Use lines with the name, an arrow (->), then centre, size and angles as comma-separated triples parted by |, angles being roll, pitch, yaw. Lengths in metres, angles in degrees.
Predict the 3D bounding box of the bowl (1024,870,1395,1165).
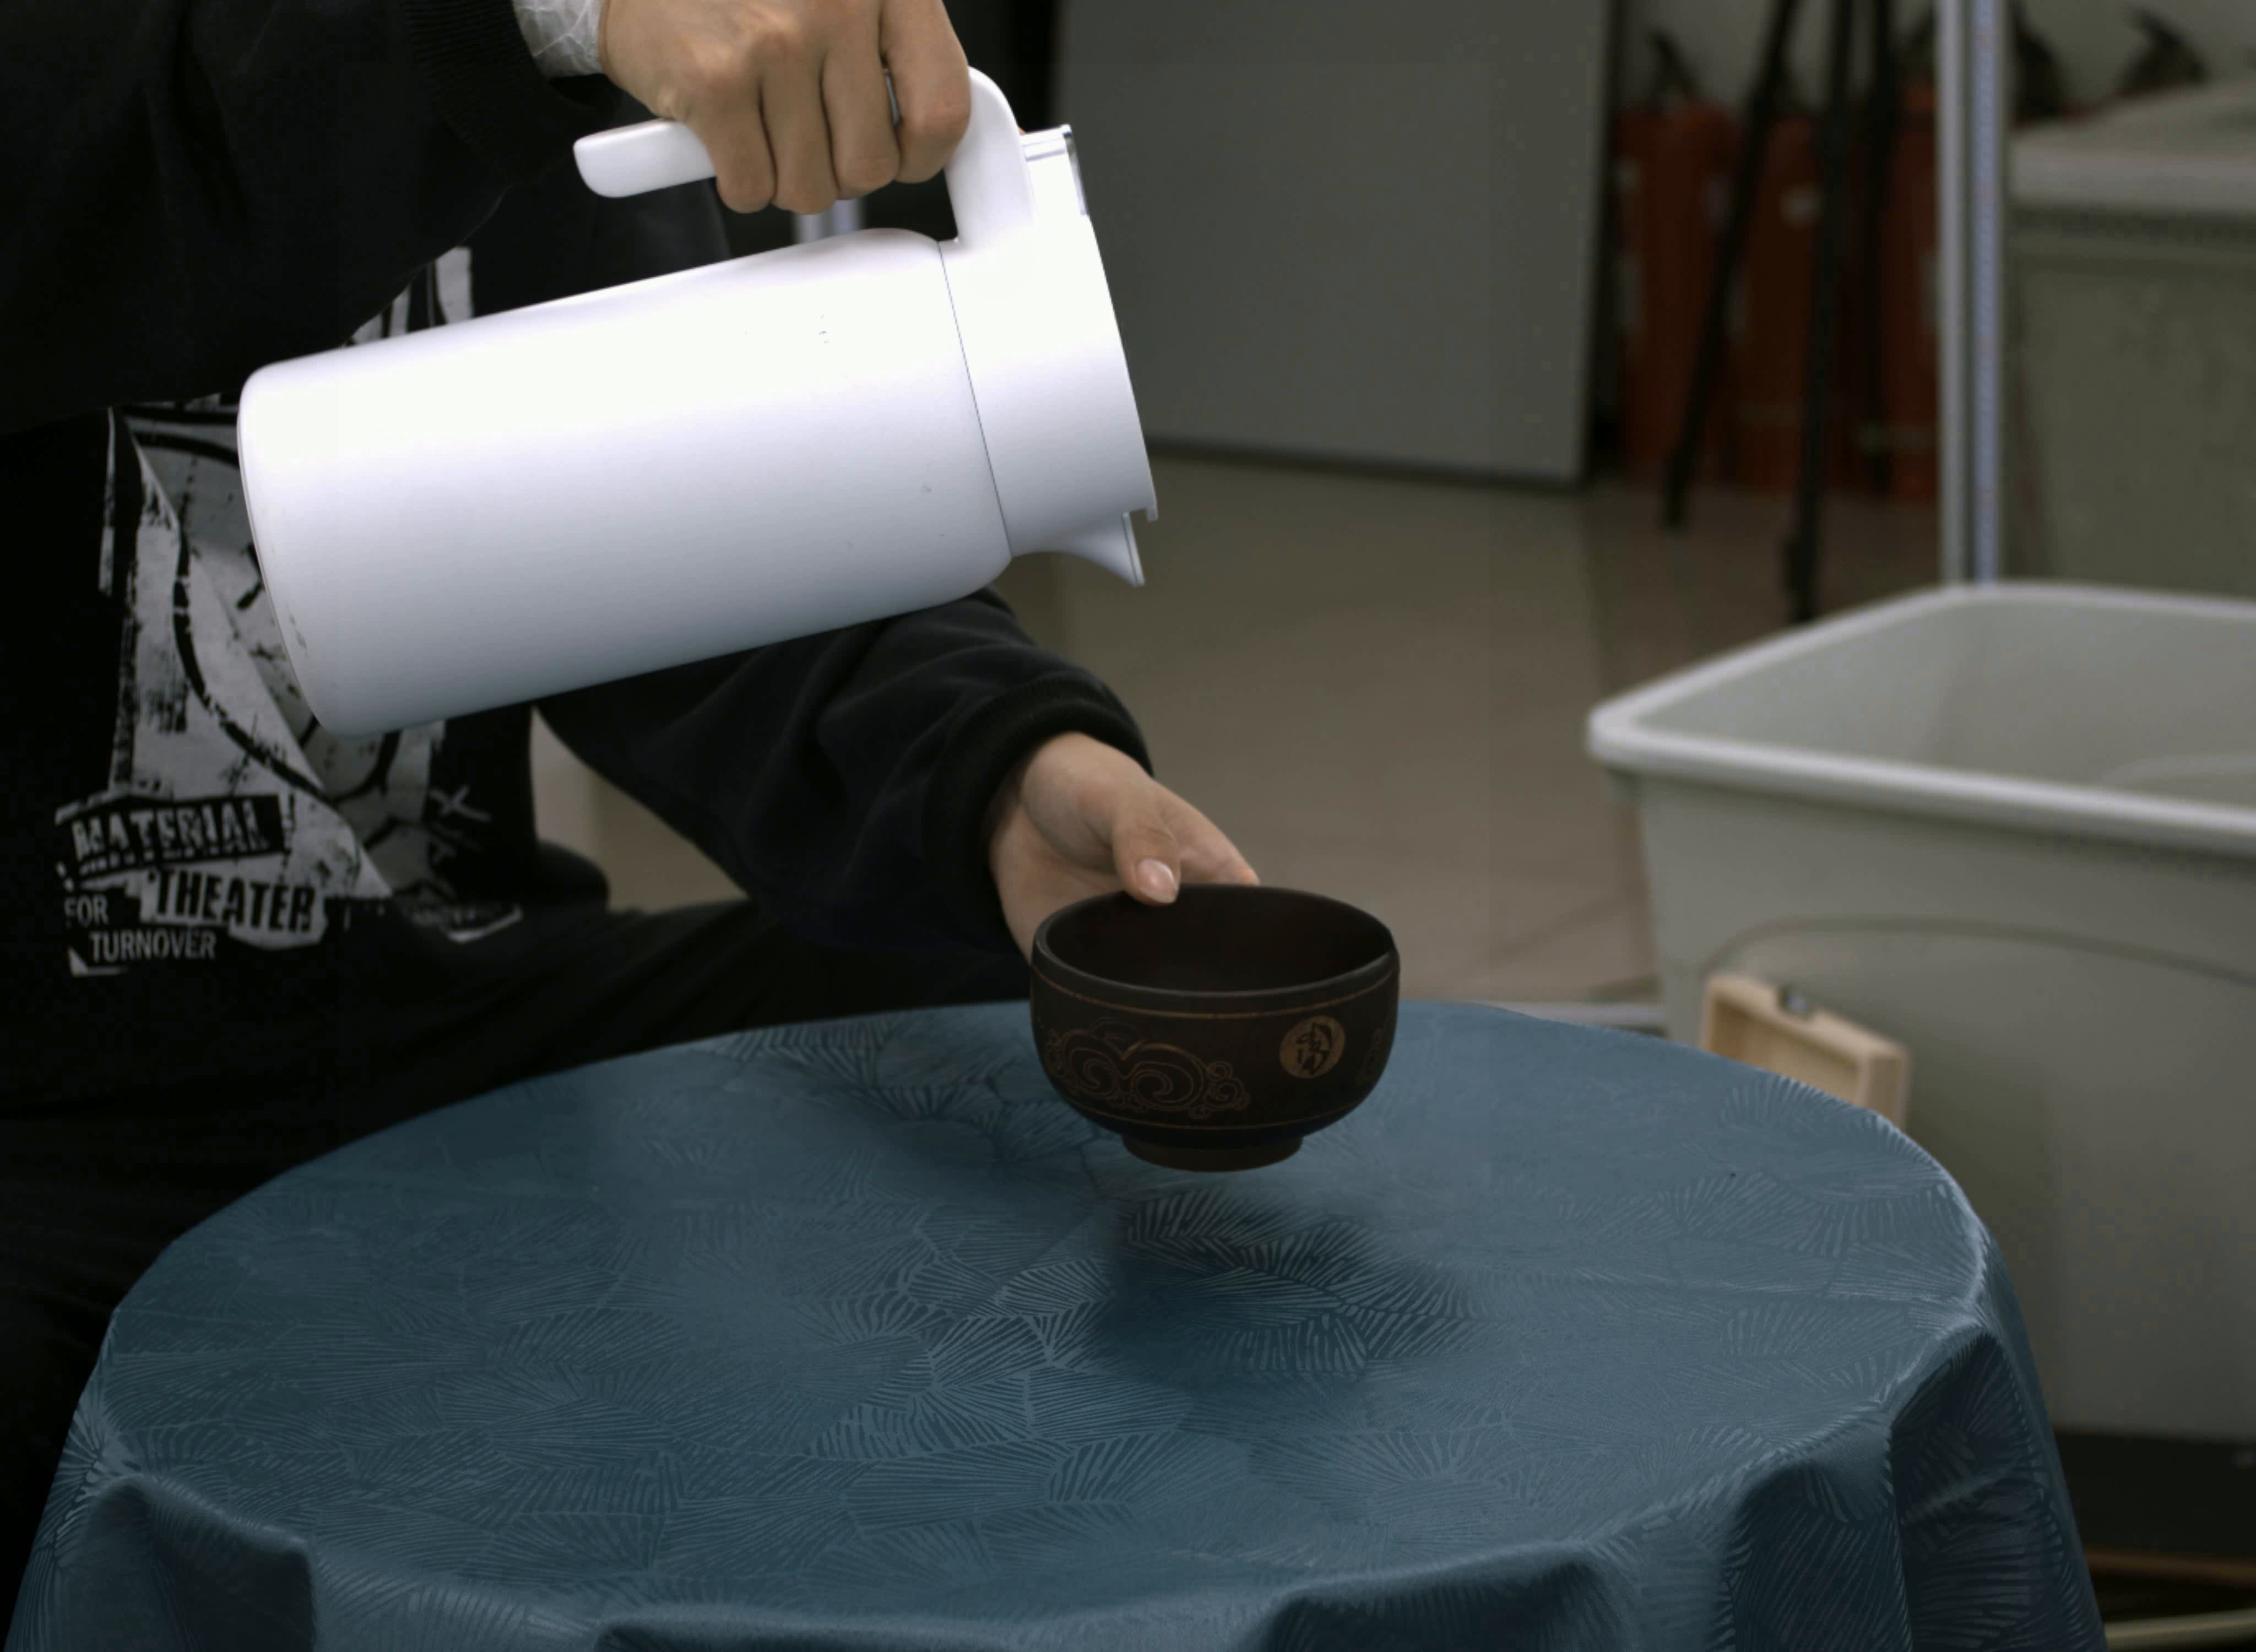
bowl -> 0.026, 0.064, 1.682 | 0.116, 0.070, 0.118 | -2, 16, 0

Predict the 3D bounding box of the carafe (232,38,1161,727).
carafe -> -0.134, -0.131, 1.636 | 0.266, 0.174, 0.124 | -13, 12, 3
